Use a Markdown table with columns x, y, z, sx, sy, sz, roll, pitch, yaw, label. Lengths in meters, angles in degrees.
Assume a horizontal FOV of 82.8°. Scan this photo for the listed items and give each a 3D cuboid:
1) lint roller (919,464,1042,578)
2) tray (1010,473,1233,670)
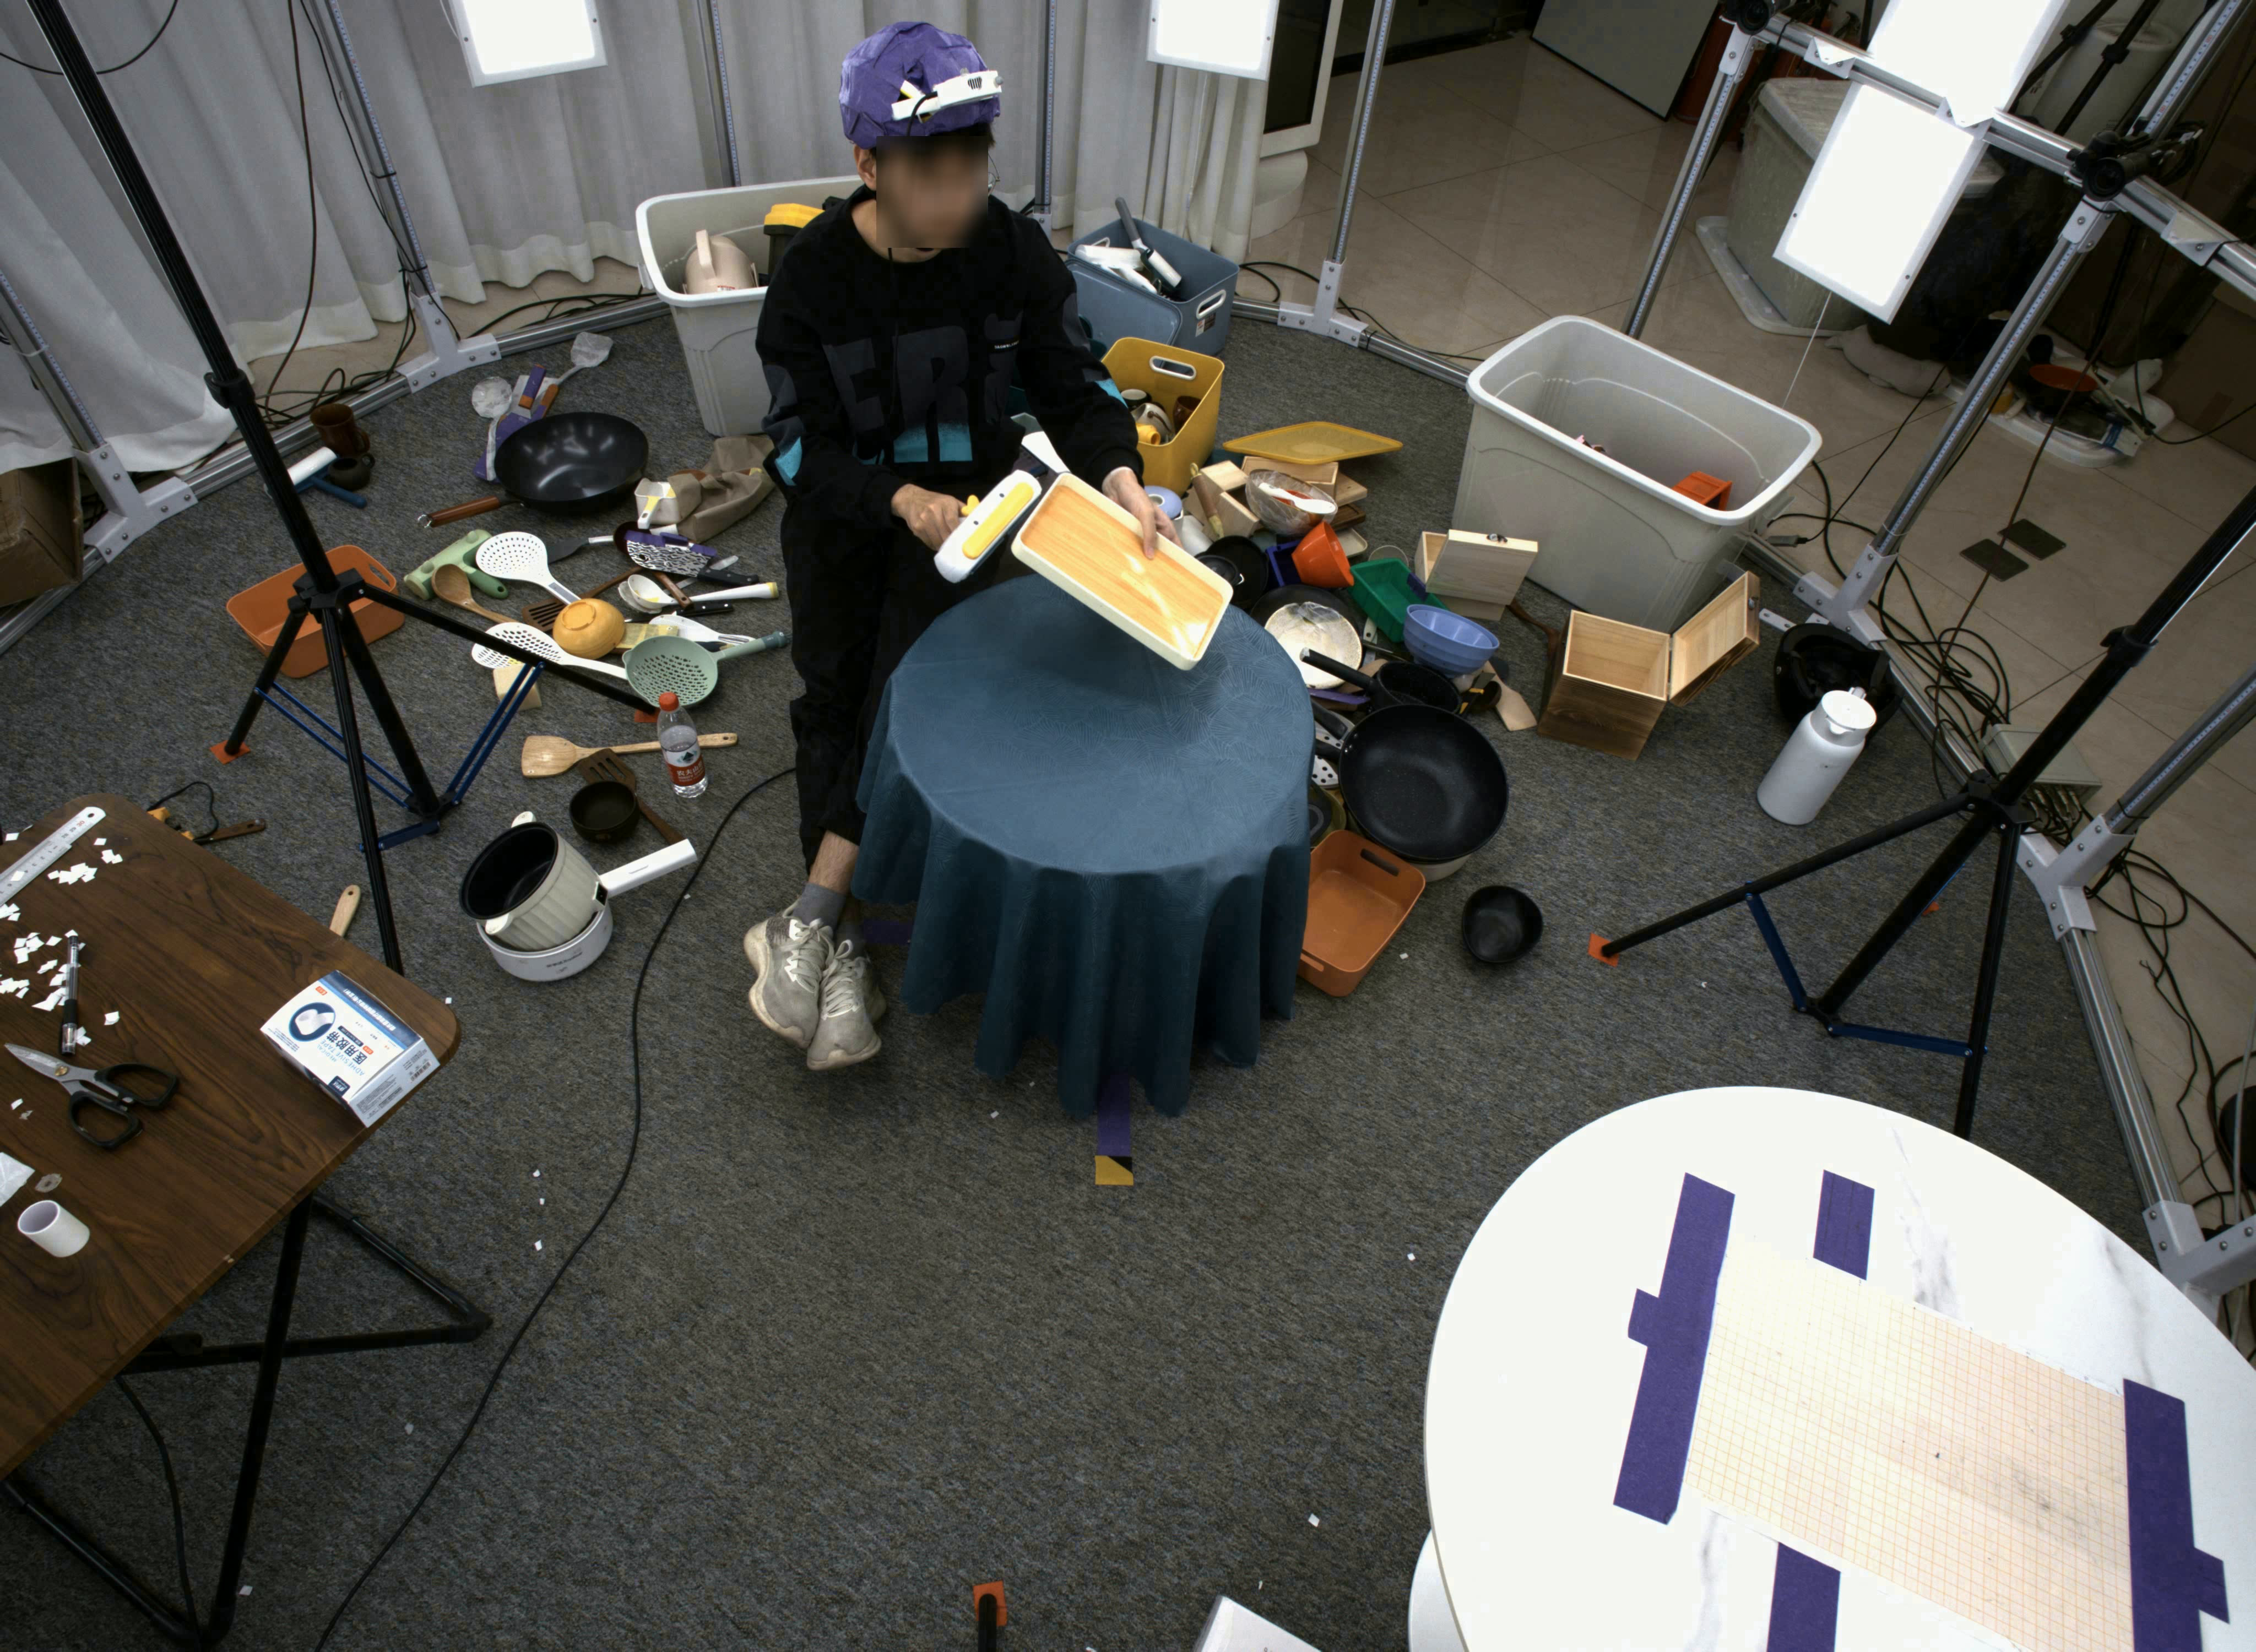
| x | y | z | sx | sy | sz | roll | pitch | yaw | label |
| --- | --- | --- | --- | --- | --- | --- | --- | --- | --- |
| -0.226 | -0.419 | 1.811 | 0.192 | 0.073 | 0.195 | -7 | 46 | 55 | lint roller |
| -0.004 | -0.357 | 1.794 | 0.299 | 0.027 | 0.195 | 33 | 47 | -6 | tray |
